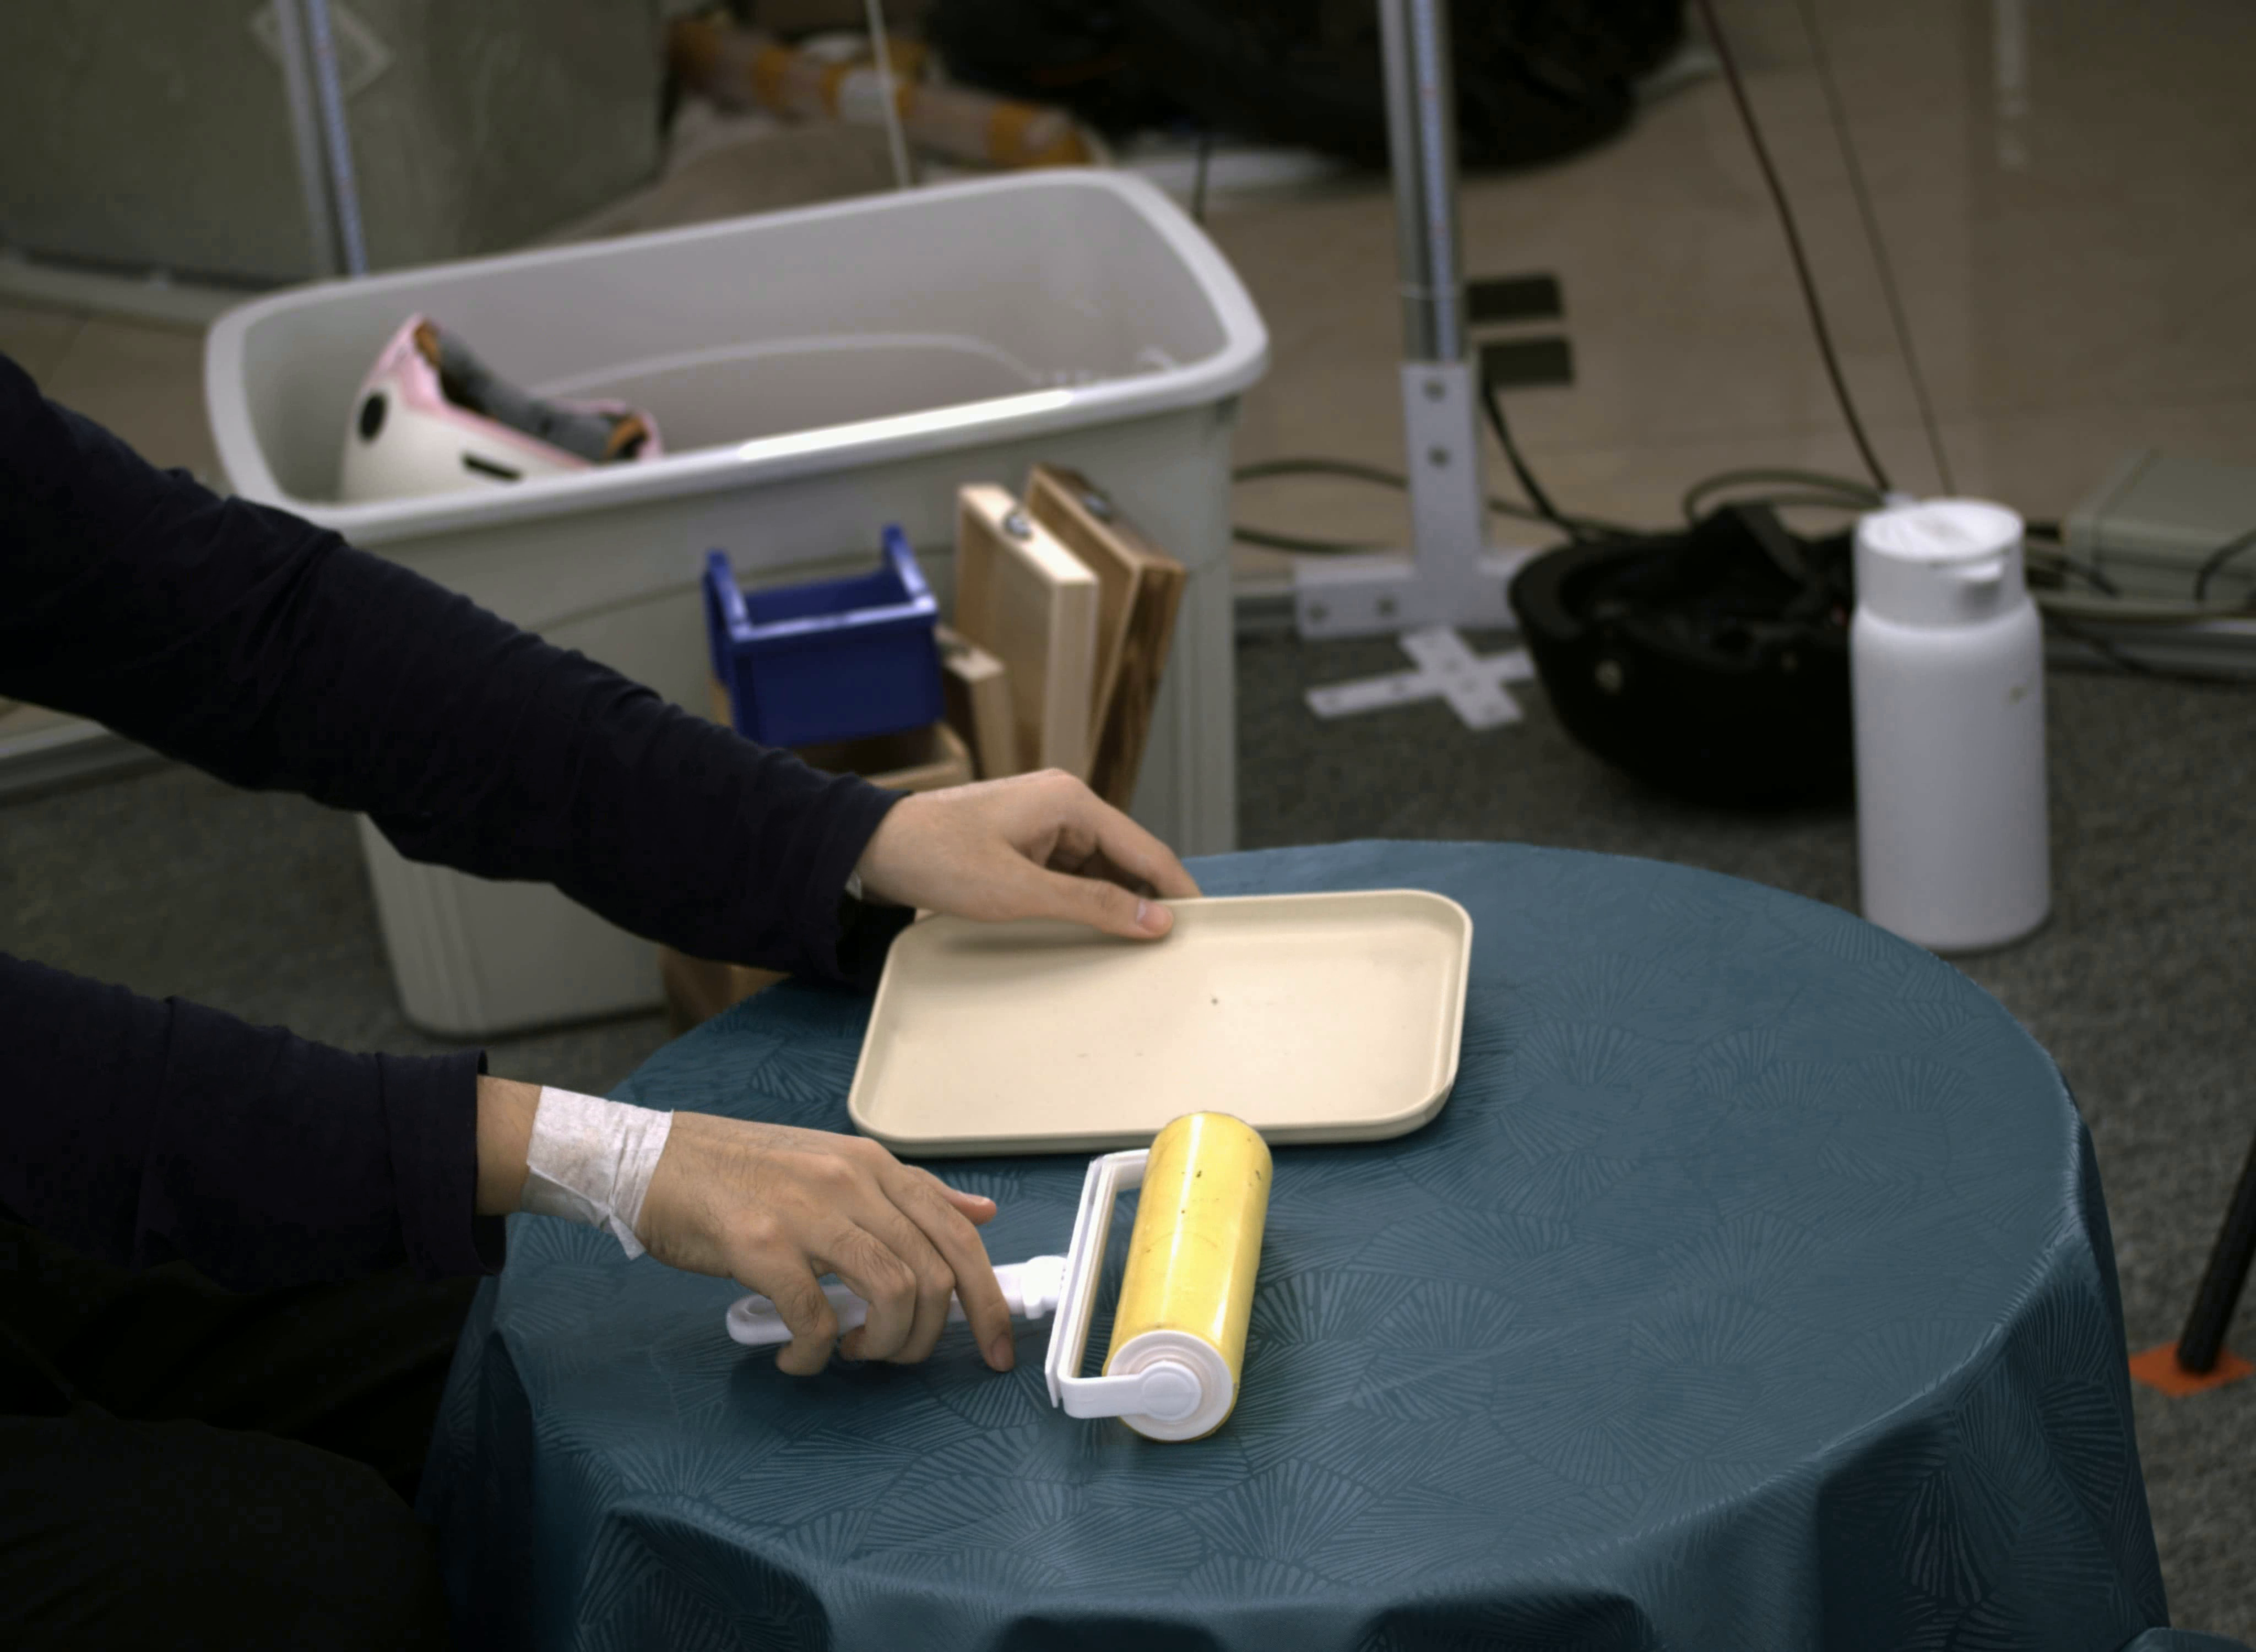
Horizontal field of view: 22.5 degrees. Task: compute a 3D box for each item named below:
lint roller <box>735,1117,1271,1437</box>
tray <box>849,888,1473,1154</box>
[{"bbox_3d":[-0.048,0.162,2.048,0.191,0.052,0.172,0,24,4],"label":"lint roller"},{"bbox_3d":[0.015,0.078,2.239,0.239,0.018,0.168,-2,31,9],"label":"tray"}]
